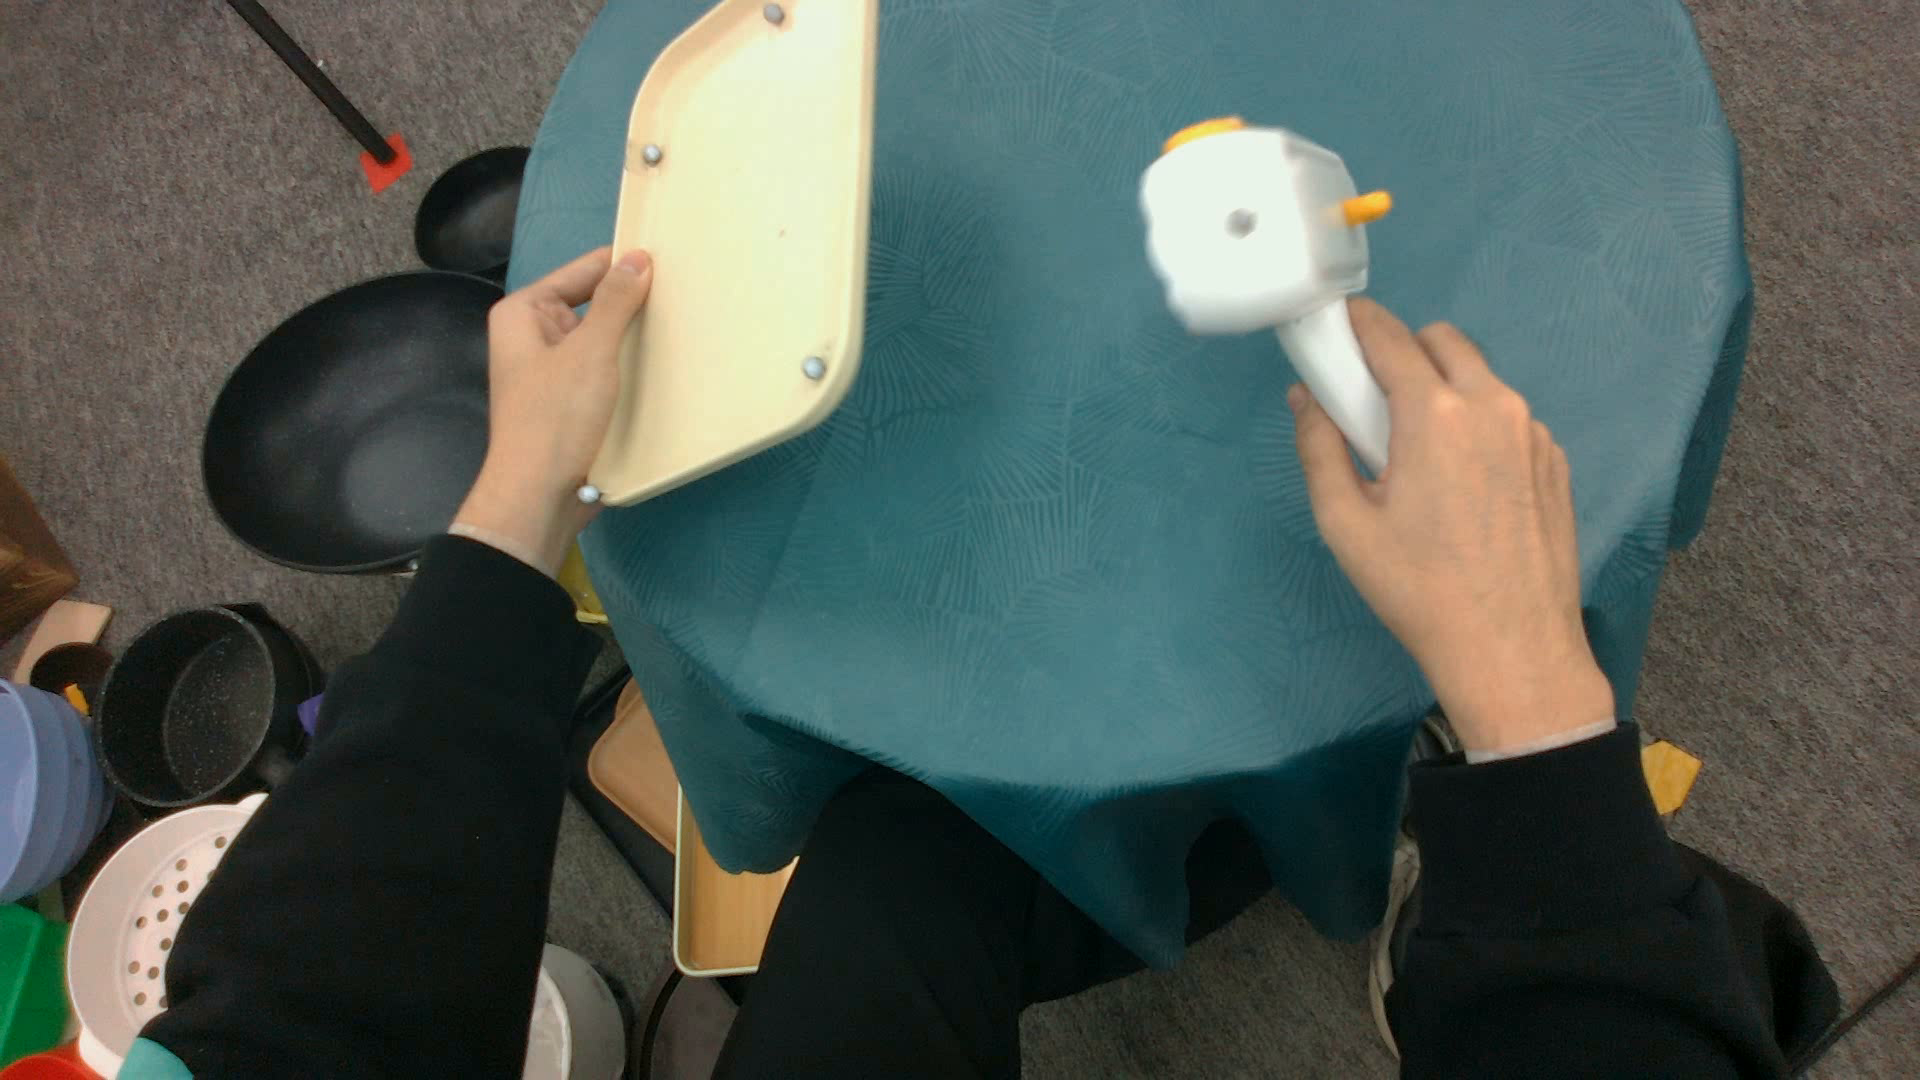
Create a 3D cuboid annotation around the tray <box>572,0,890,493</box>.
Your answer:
[{"bbox_3d":[-0.097,-0.141,0.594,0.170,0.017,0.240,-15,63,35],"label":"tray"}]

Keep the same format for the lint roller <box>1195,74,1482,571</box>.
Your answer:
[{"bbox_3d":[0.142,-0.074,0.518,0.074,0.193,0.192,-17,98,10],"label":"lint roller"}]
